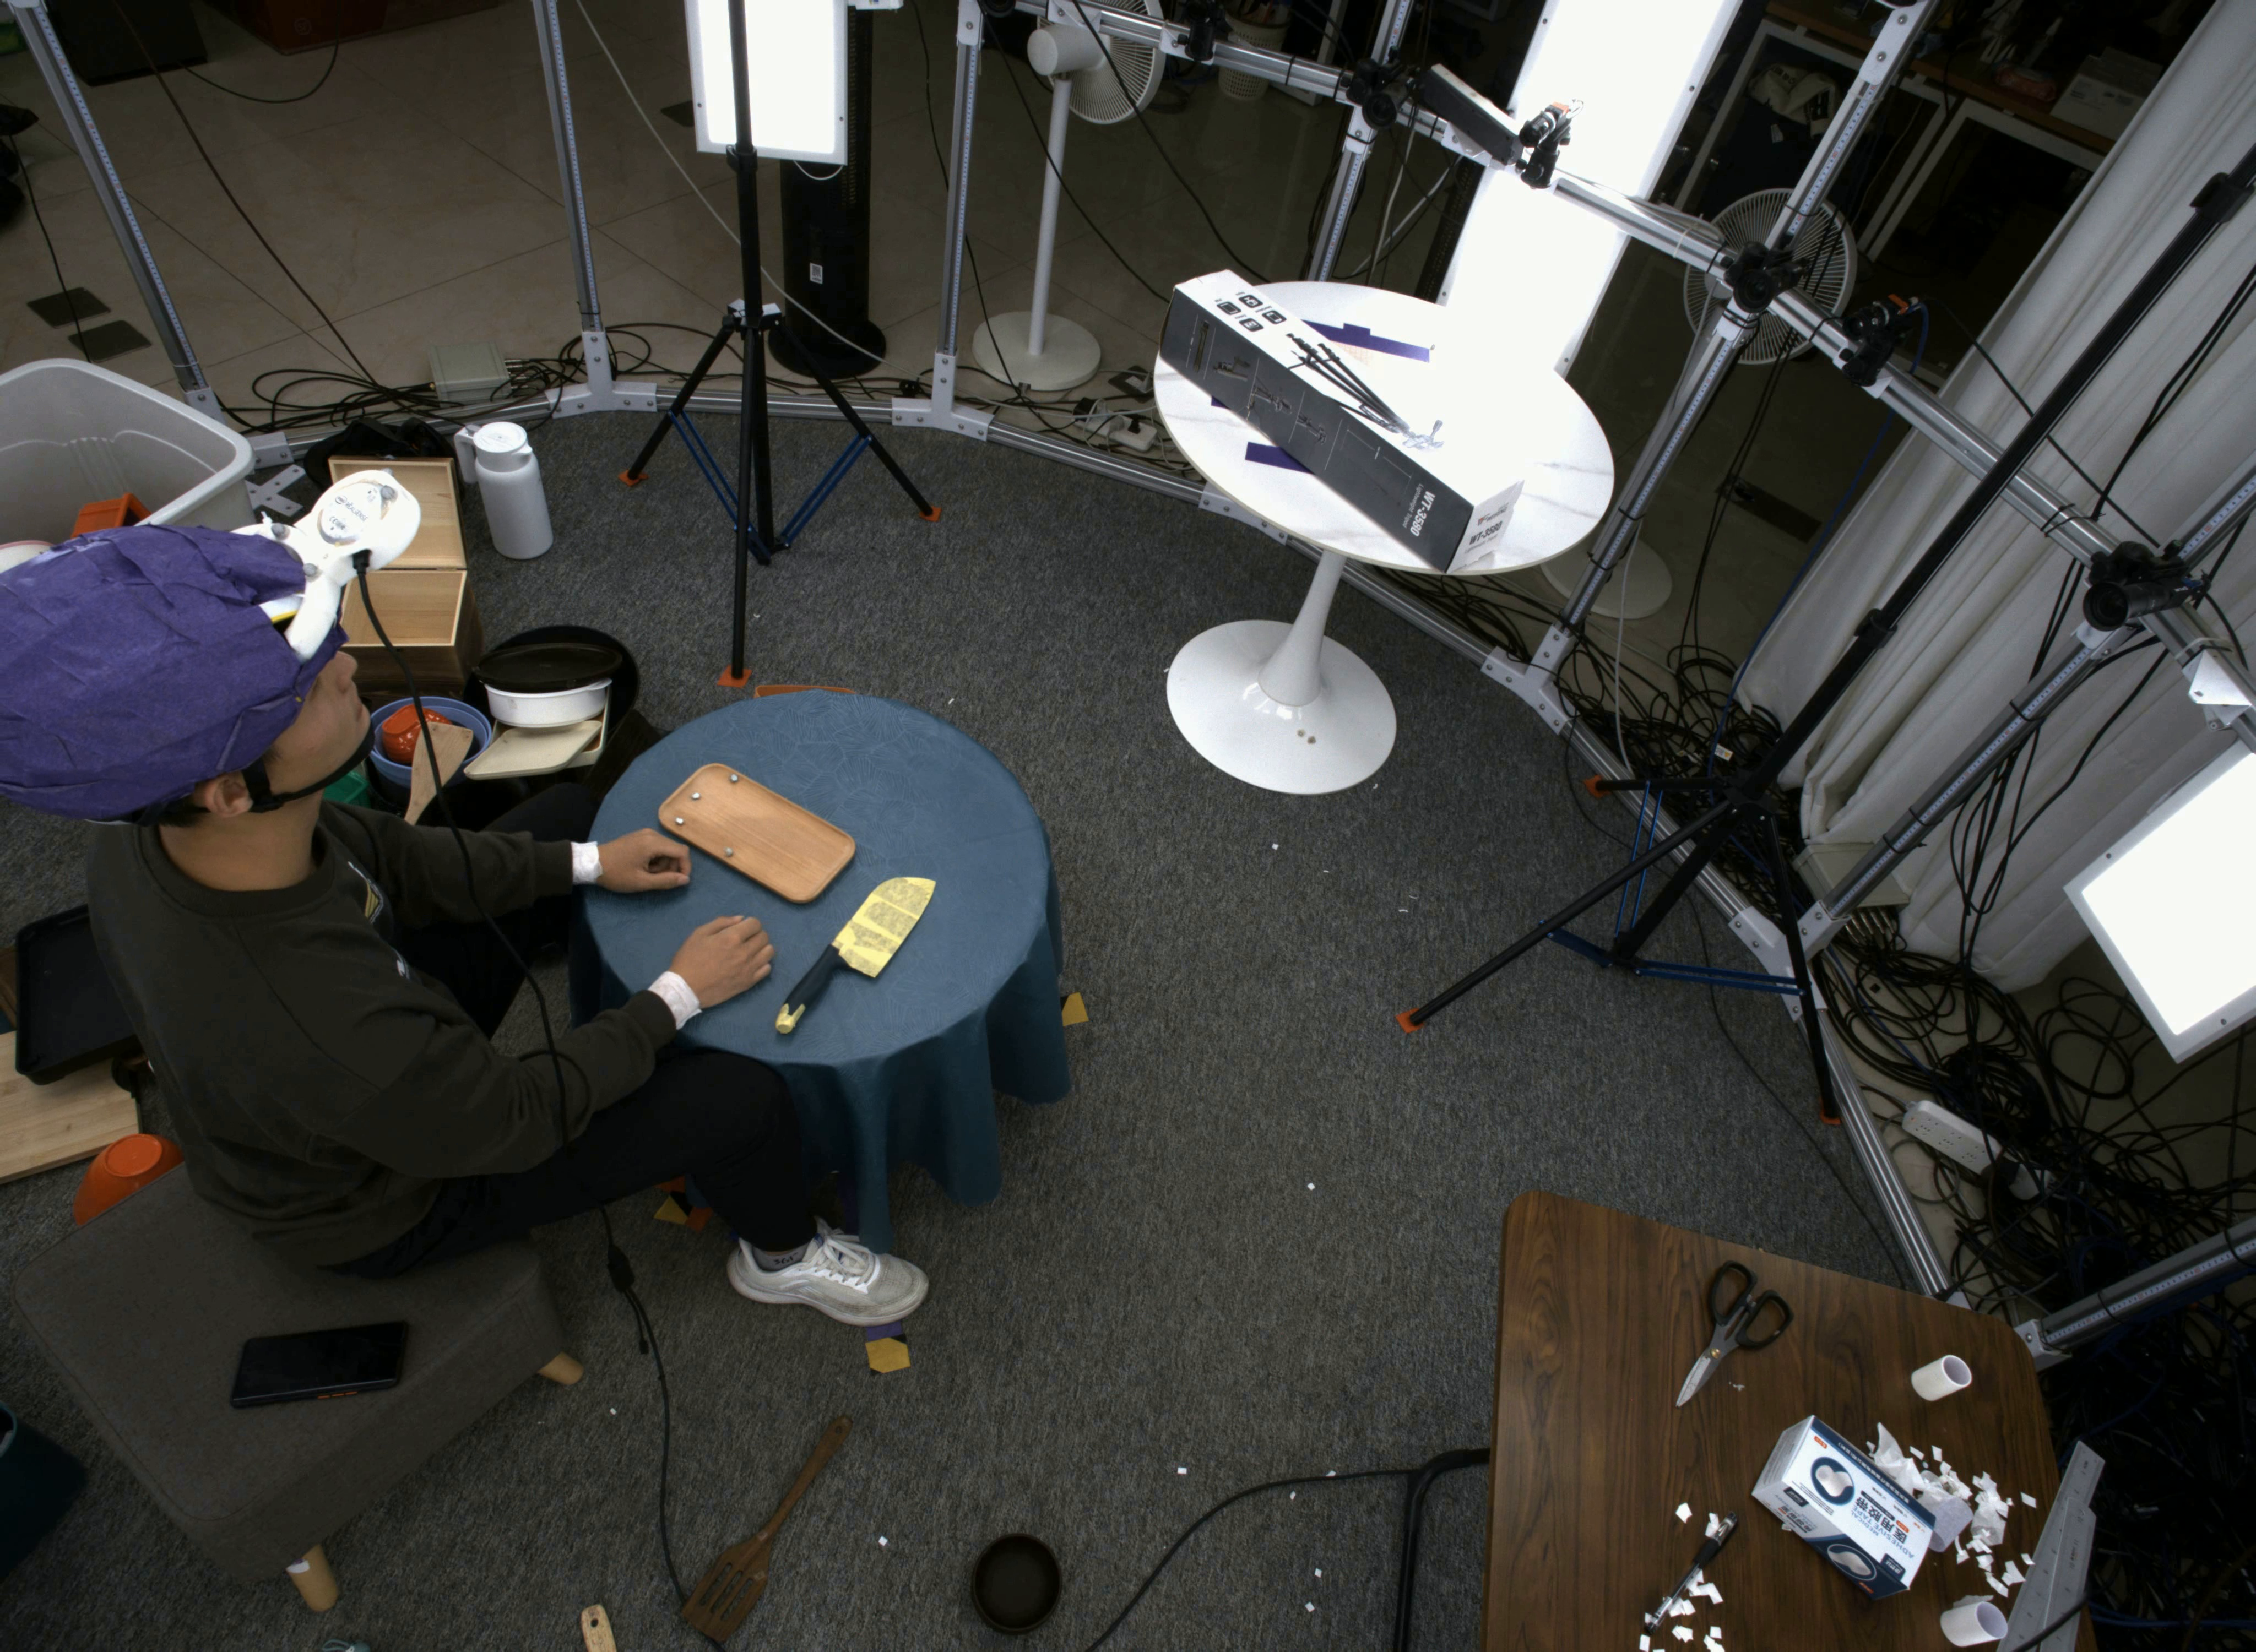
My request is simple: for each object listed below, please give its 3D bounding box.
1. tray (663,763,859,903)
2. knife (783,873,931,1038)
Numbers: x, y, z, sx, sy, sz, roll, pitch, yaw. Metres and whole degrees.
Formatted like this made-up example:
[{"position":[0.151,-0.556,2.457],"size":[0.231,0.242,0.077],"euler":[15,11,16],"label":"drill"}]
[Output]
[{"position":[-0.483,0.007,1.704],"size":[0.247,0.023,0.130],"euler":[29,55,7],"label":"tray"},{"position":[-0.335,0.156,1.633],"size":[0.079,0.028,0.288],"euler":[27,51,9],"label":"knife"}]
